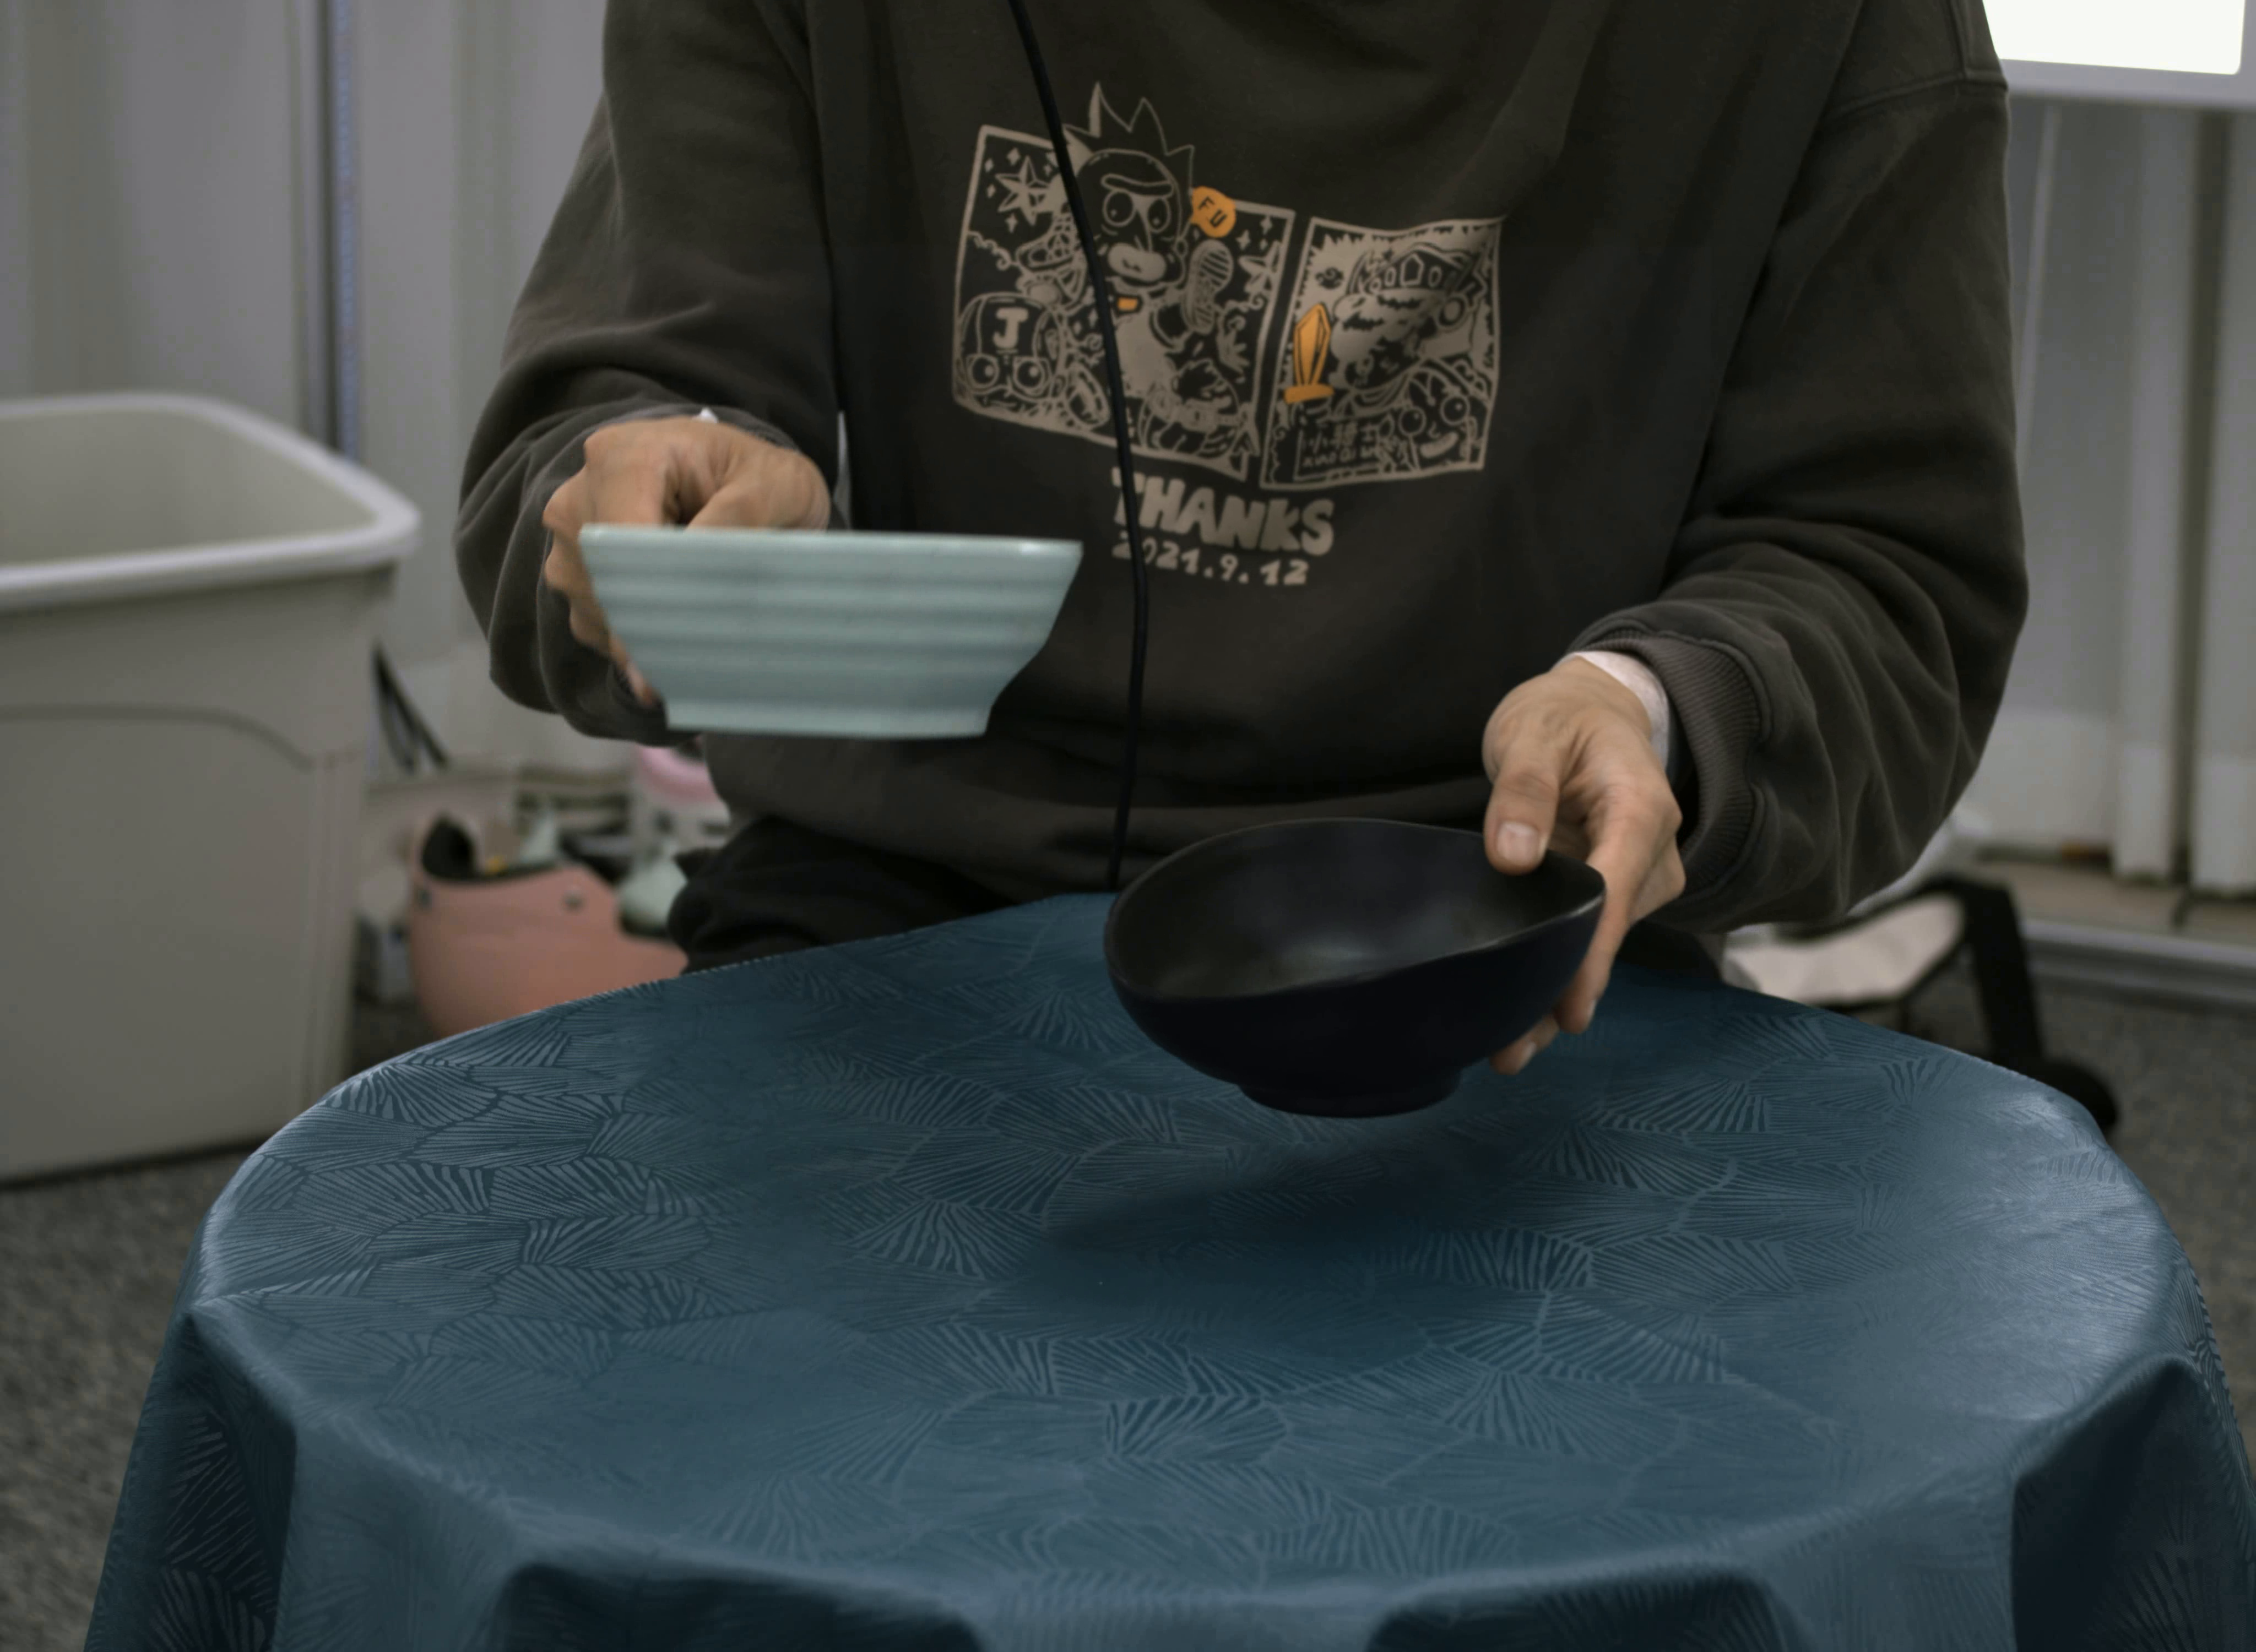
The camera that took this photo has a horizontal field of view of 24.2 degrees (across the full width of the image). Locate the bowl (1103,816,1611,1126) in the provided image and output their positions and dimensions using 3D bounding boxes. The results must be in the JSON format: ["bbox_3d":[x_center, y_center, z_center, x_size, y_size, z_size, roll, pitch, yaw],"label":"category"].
[{"bbox_3d":[0.071,0.050,1.609,0.171,0.067,0.135,-17,24,-42],"label":"bowl"}]

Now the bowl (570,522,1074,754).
[{"bbox_3d":[-0.090,-0.055,1.538,0.151,0.059,0.151,4,5,0],"label":"bowl"}]
